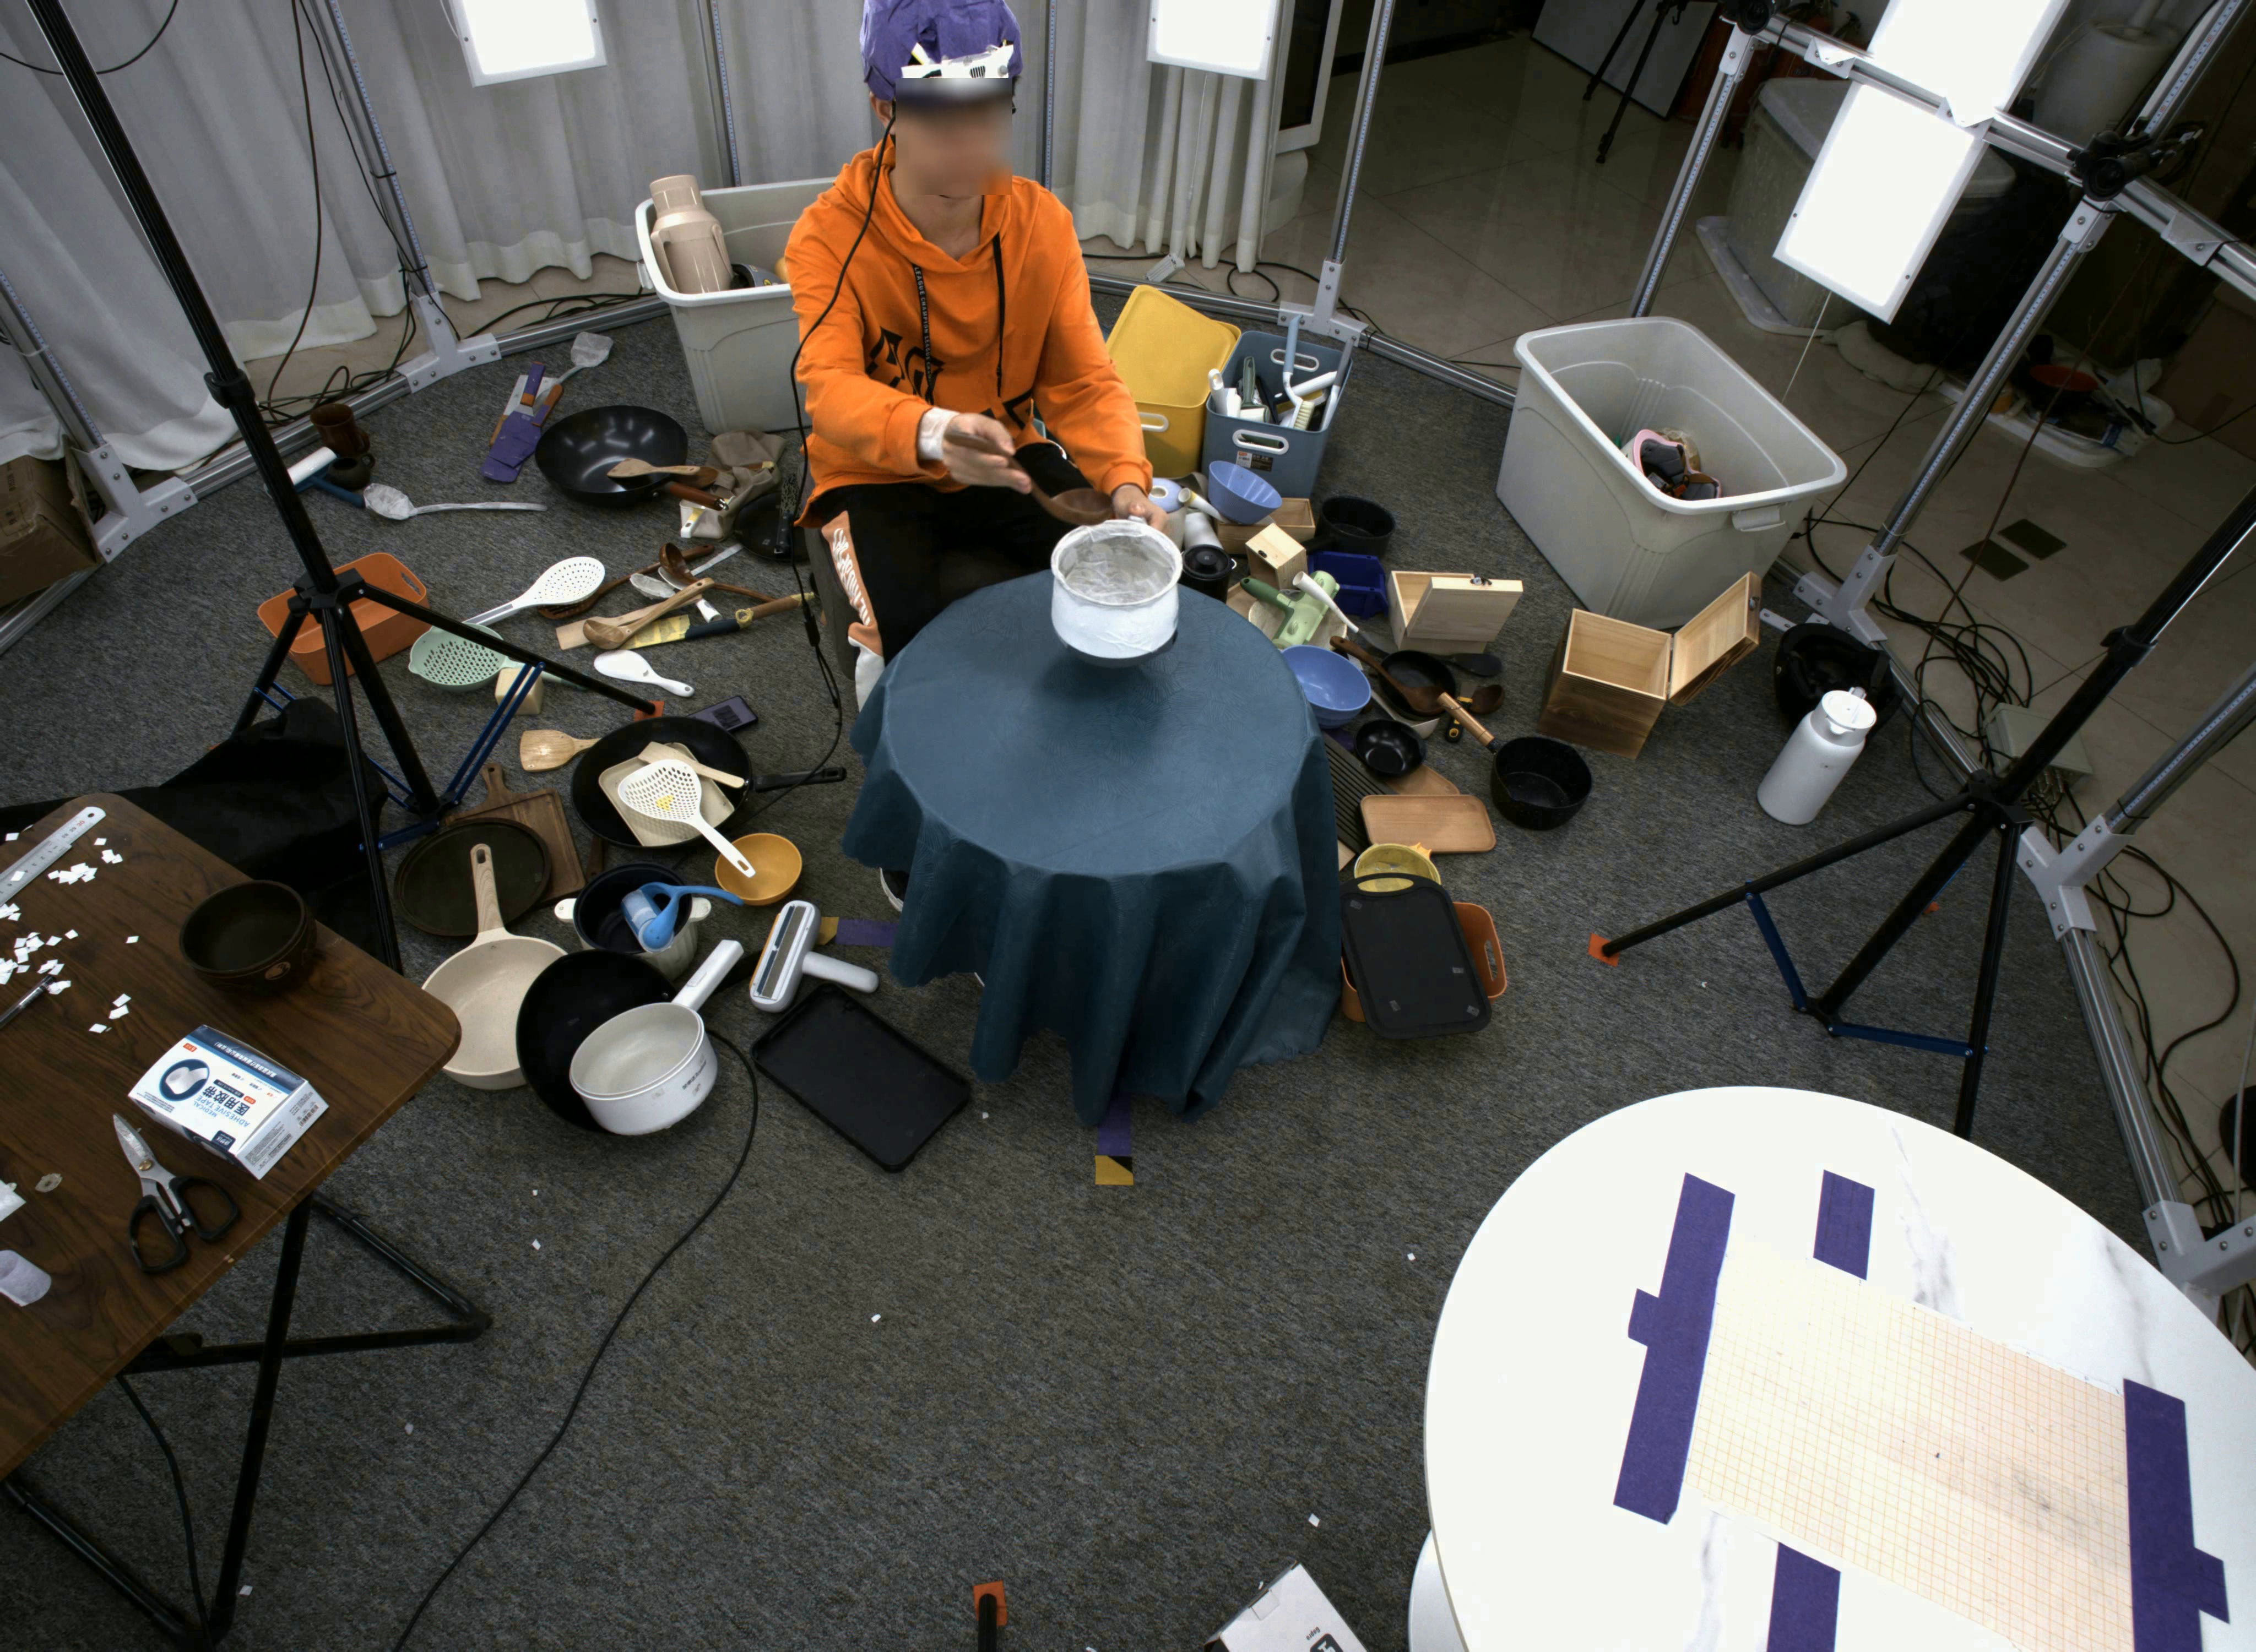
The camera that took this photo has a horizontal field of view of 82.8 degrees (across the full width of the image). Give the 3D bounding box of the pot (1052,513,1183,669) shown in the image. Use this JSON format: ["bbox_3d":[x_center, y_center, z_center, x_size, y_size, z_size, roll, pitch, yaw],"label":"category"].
[{"bbox_3d":[-0.009,-0.337,1.793,0.179,0.133,0.239,12,51,7],"label":"pot"}]

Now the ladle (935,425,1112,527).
[{"bbox_3d":[-0.120,-0.432,1.559,0.078,0.256,0.065,39,100,44],"label":"ladle"}]
